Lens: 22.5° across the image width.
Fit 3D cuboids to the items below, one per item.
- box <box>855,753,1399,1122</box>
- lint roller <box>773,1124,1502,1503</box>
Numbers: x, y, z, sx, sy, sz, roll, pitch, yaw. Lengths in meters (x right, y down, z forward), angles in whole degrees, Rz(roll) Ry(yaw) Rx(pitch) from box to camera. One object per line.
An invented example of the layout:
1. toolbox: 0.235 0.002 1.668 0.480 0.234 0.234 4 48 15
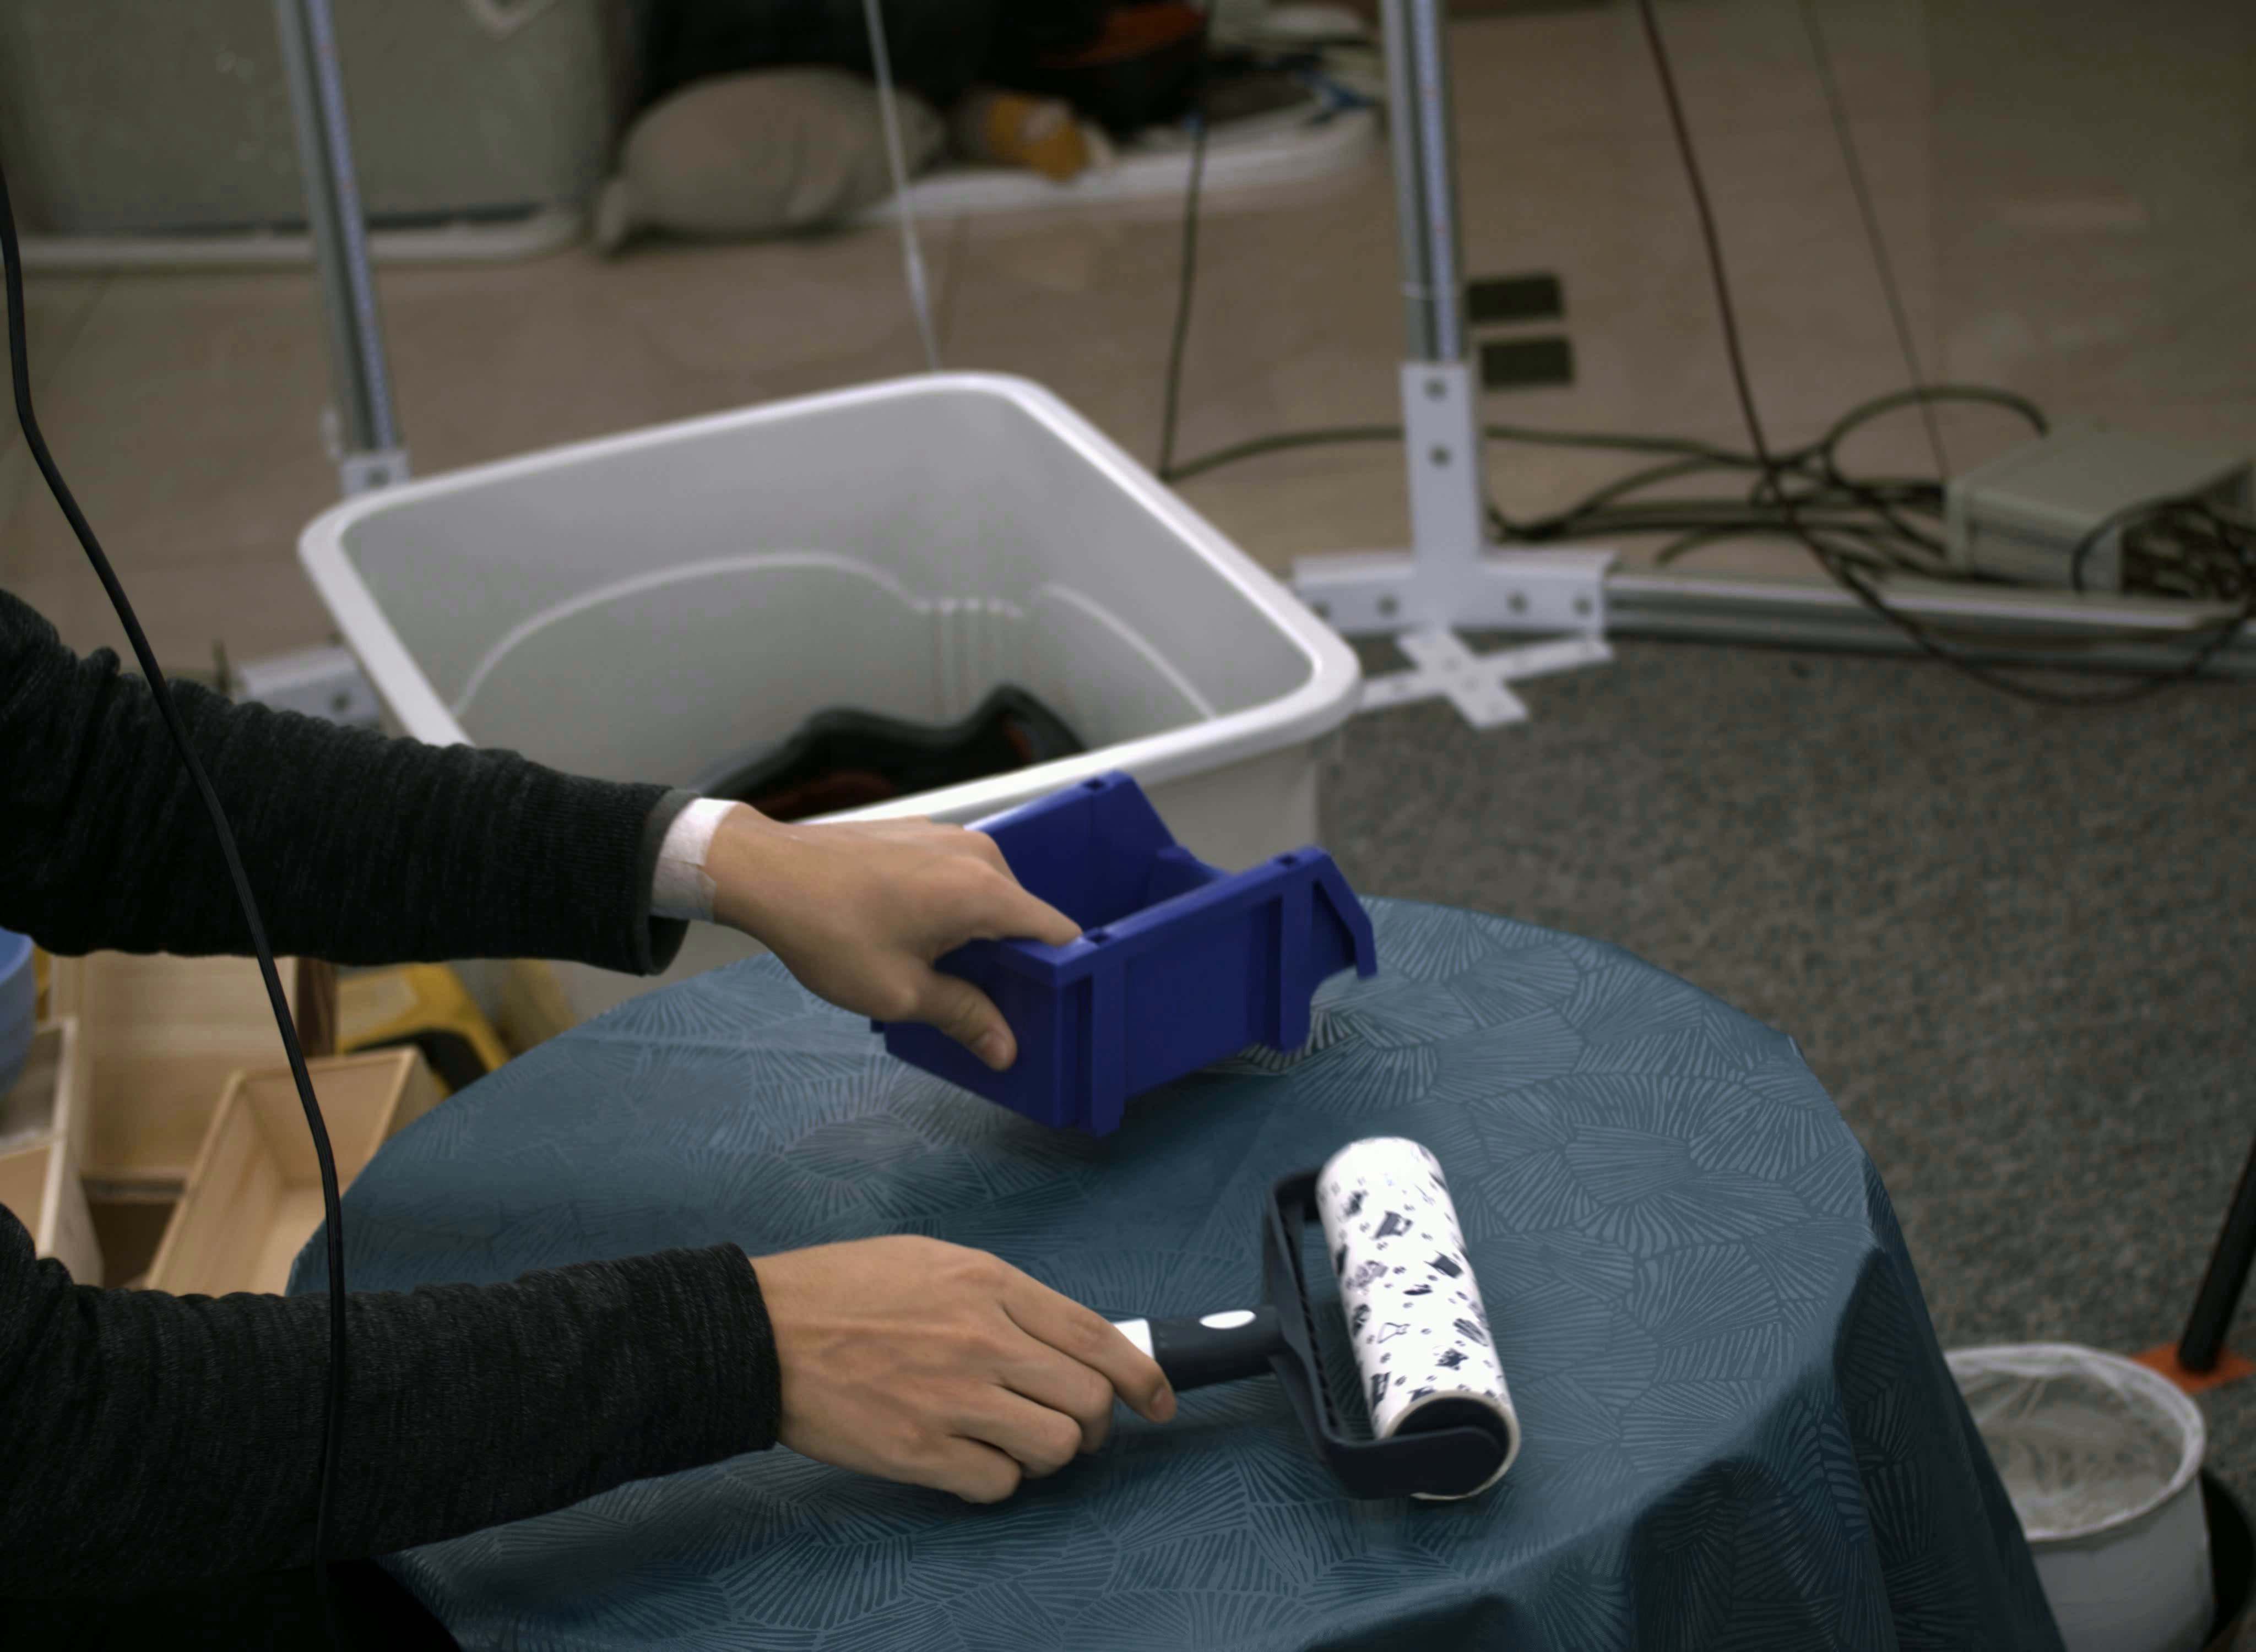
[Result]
1. box: 0.000 0.039 2.216 0.178 0.083 0.123 -24 32 -37
2. lint roller: -0.003 0.184 1.974 0.246 0.051 0.173 -8 34 -3
